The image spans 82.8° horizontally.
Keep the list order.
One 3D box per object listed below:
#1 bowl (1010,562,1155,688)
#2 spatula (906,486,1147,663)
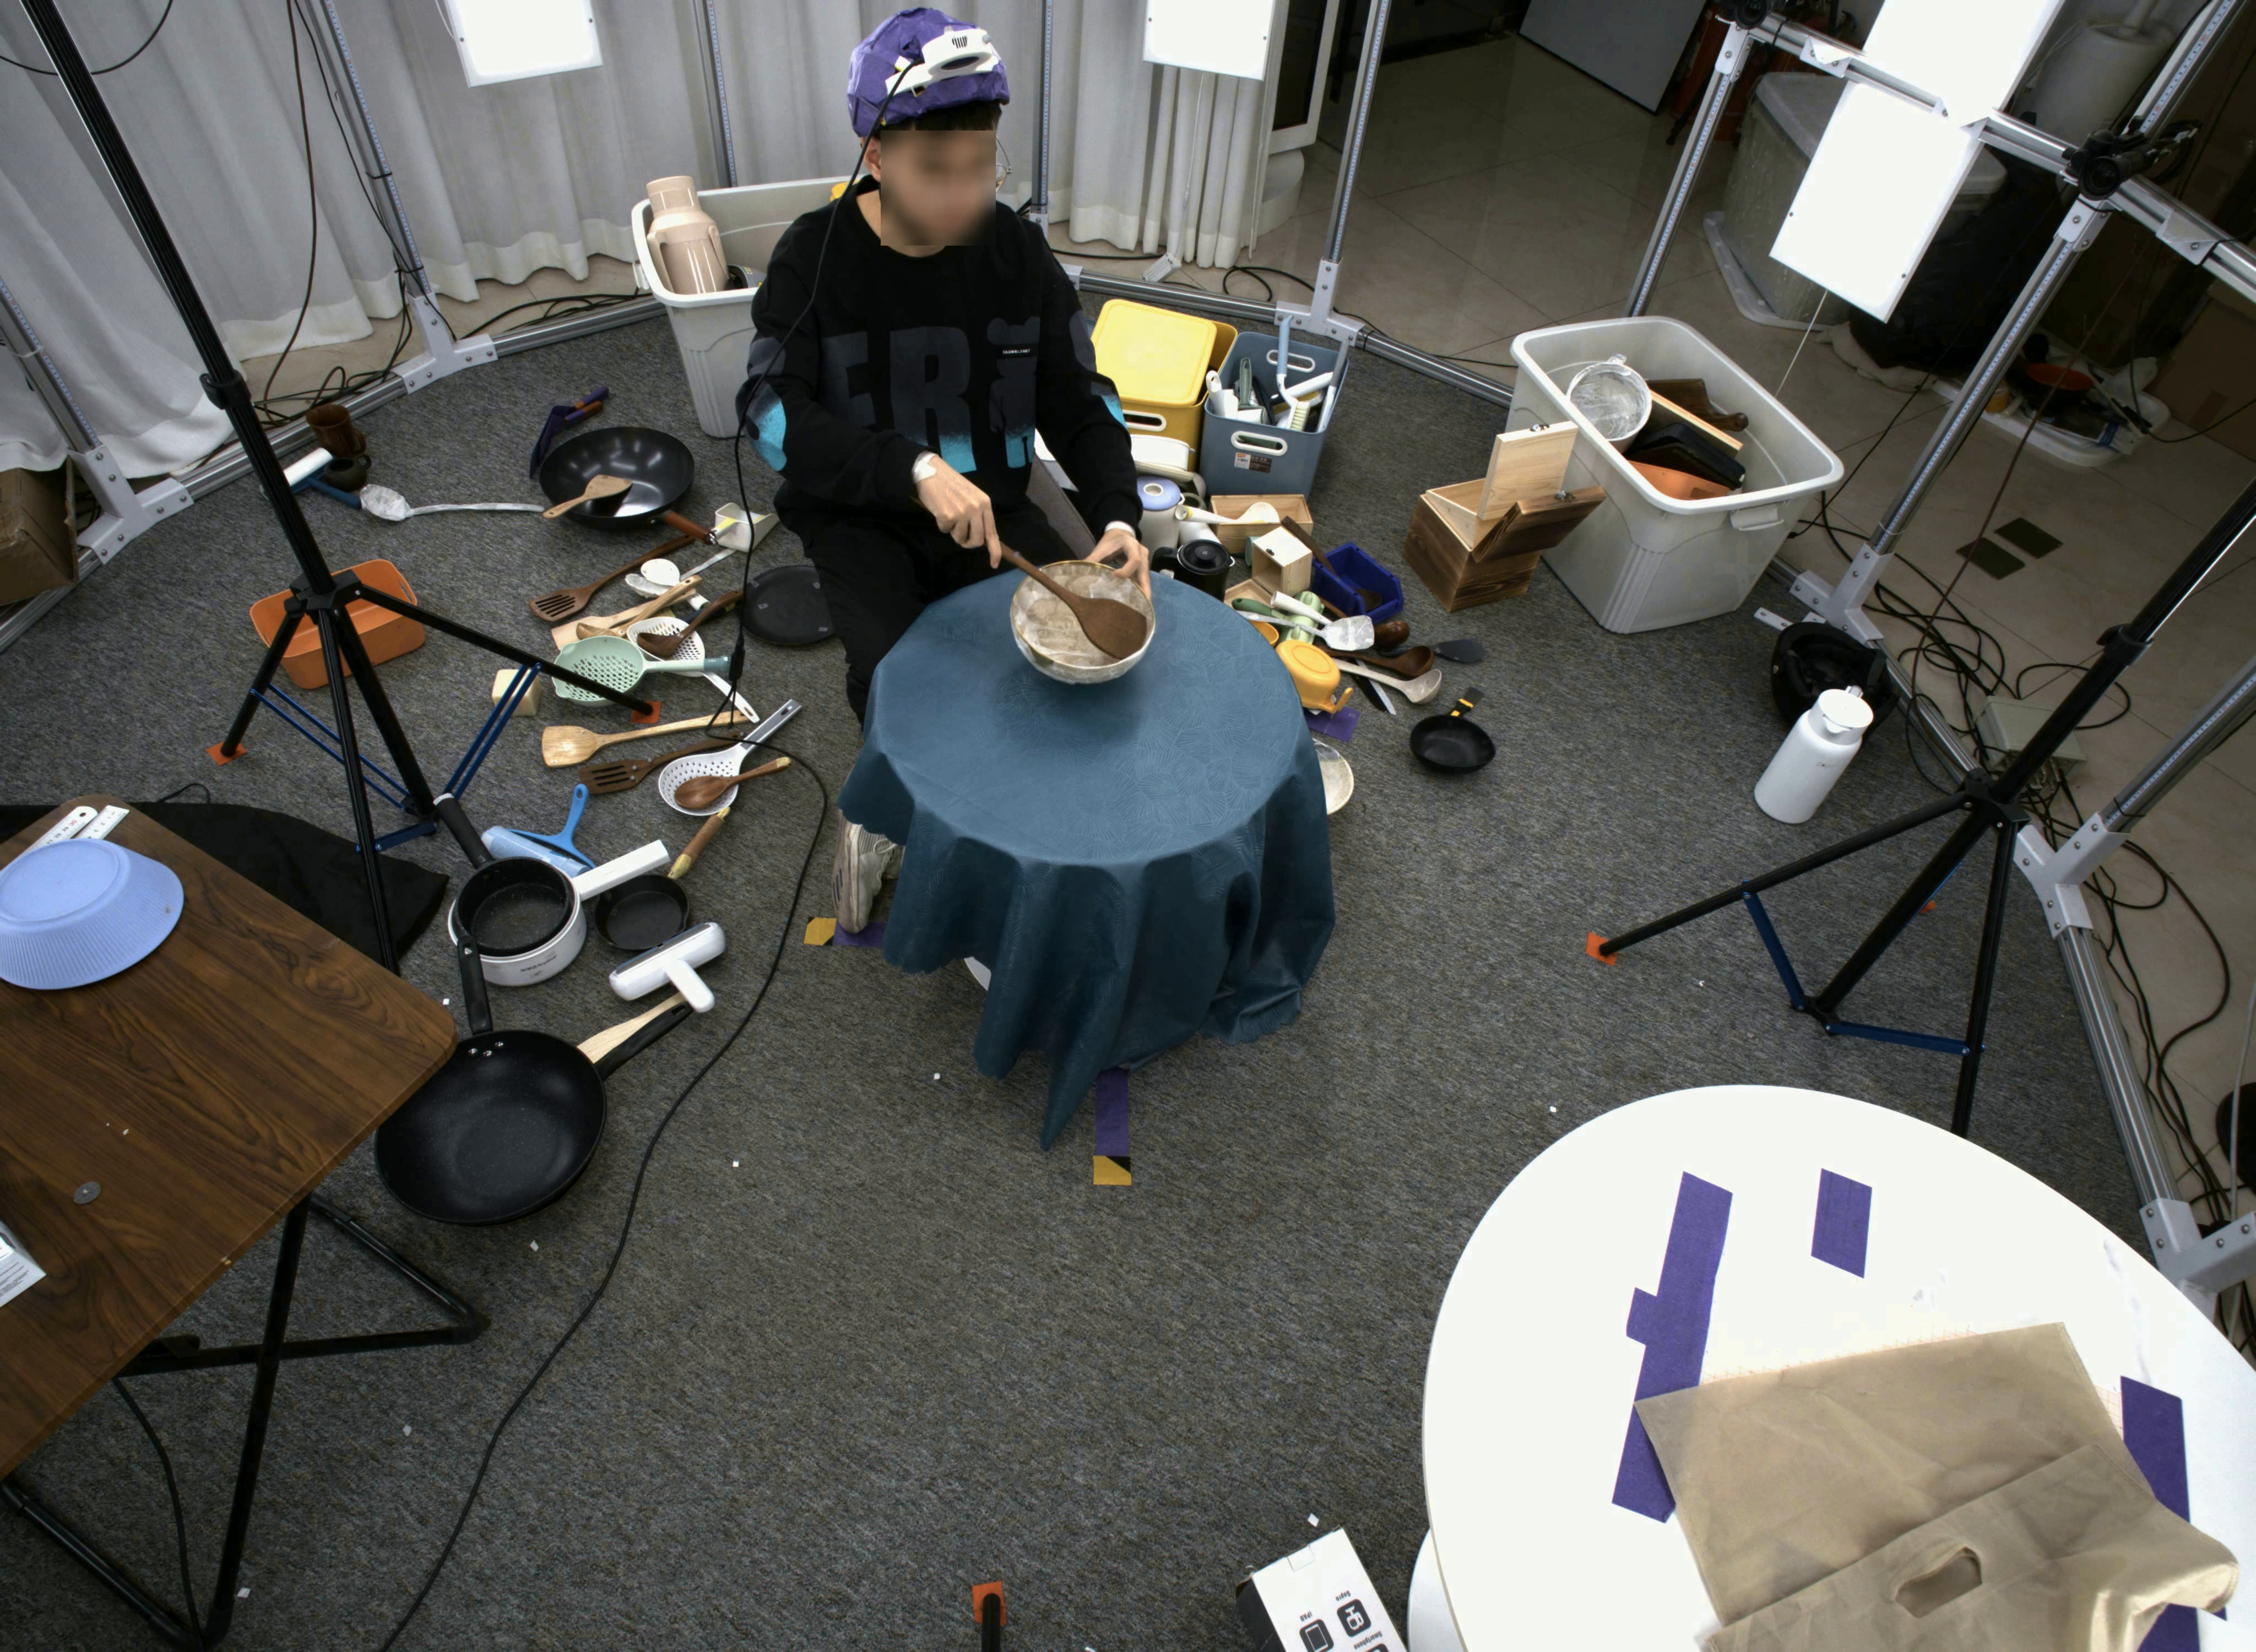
[{"bbox_3d":[-0.066,-0.271,1.827,0.214,0.092,0.220,3,54,-4],"label":"bowl"},{"bbox_3d":[-0.138,-0.352,1.778,0.383,0.015,0.098,33,54,-11],"label":"spatula"}]
